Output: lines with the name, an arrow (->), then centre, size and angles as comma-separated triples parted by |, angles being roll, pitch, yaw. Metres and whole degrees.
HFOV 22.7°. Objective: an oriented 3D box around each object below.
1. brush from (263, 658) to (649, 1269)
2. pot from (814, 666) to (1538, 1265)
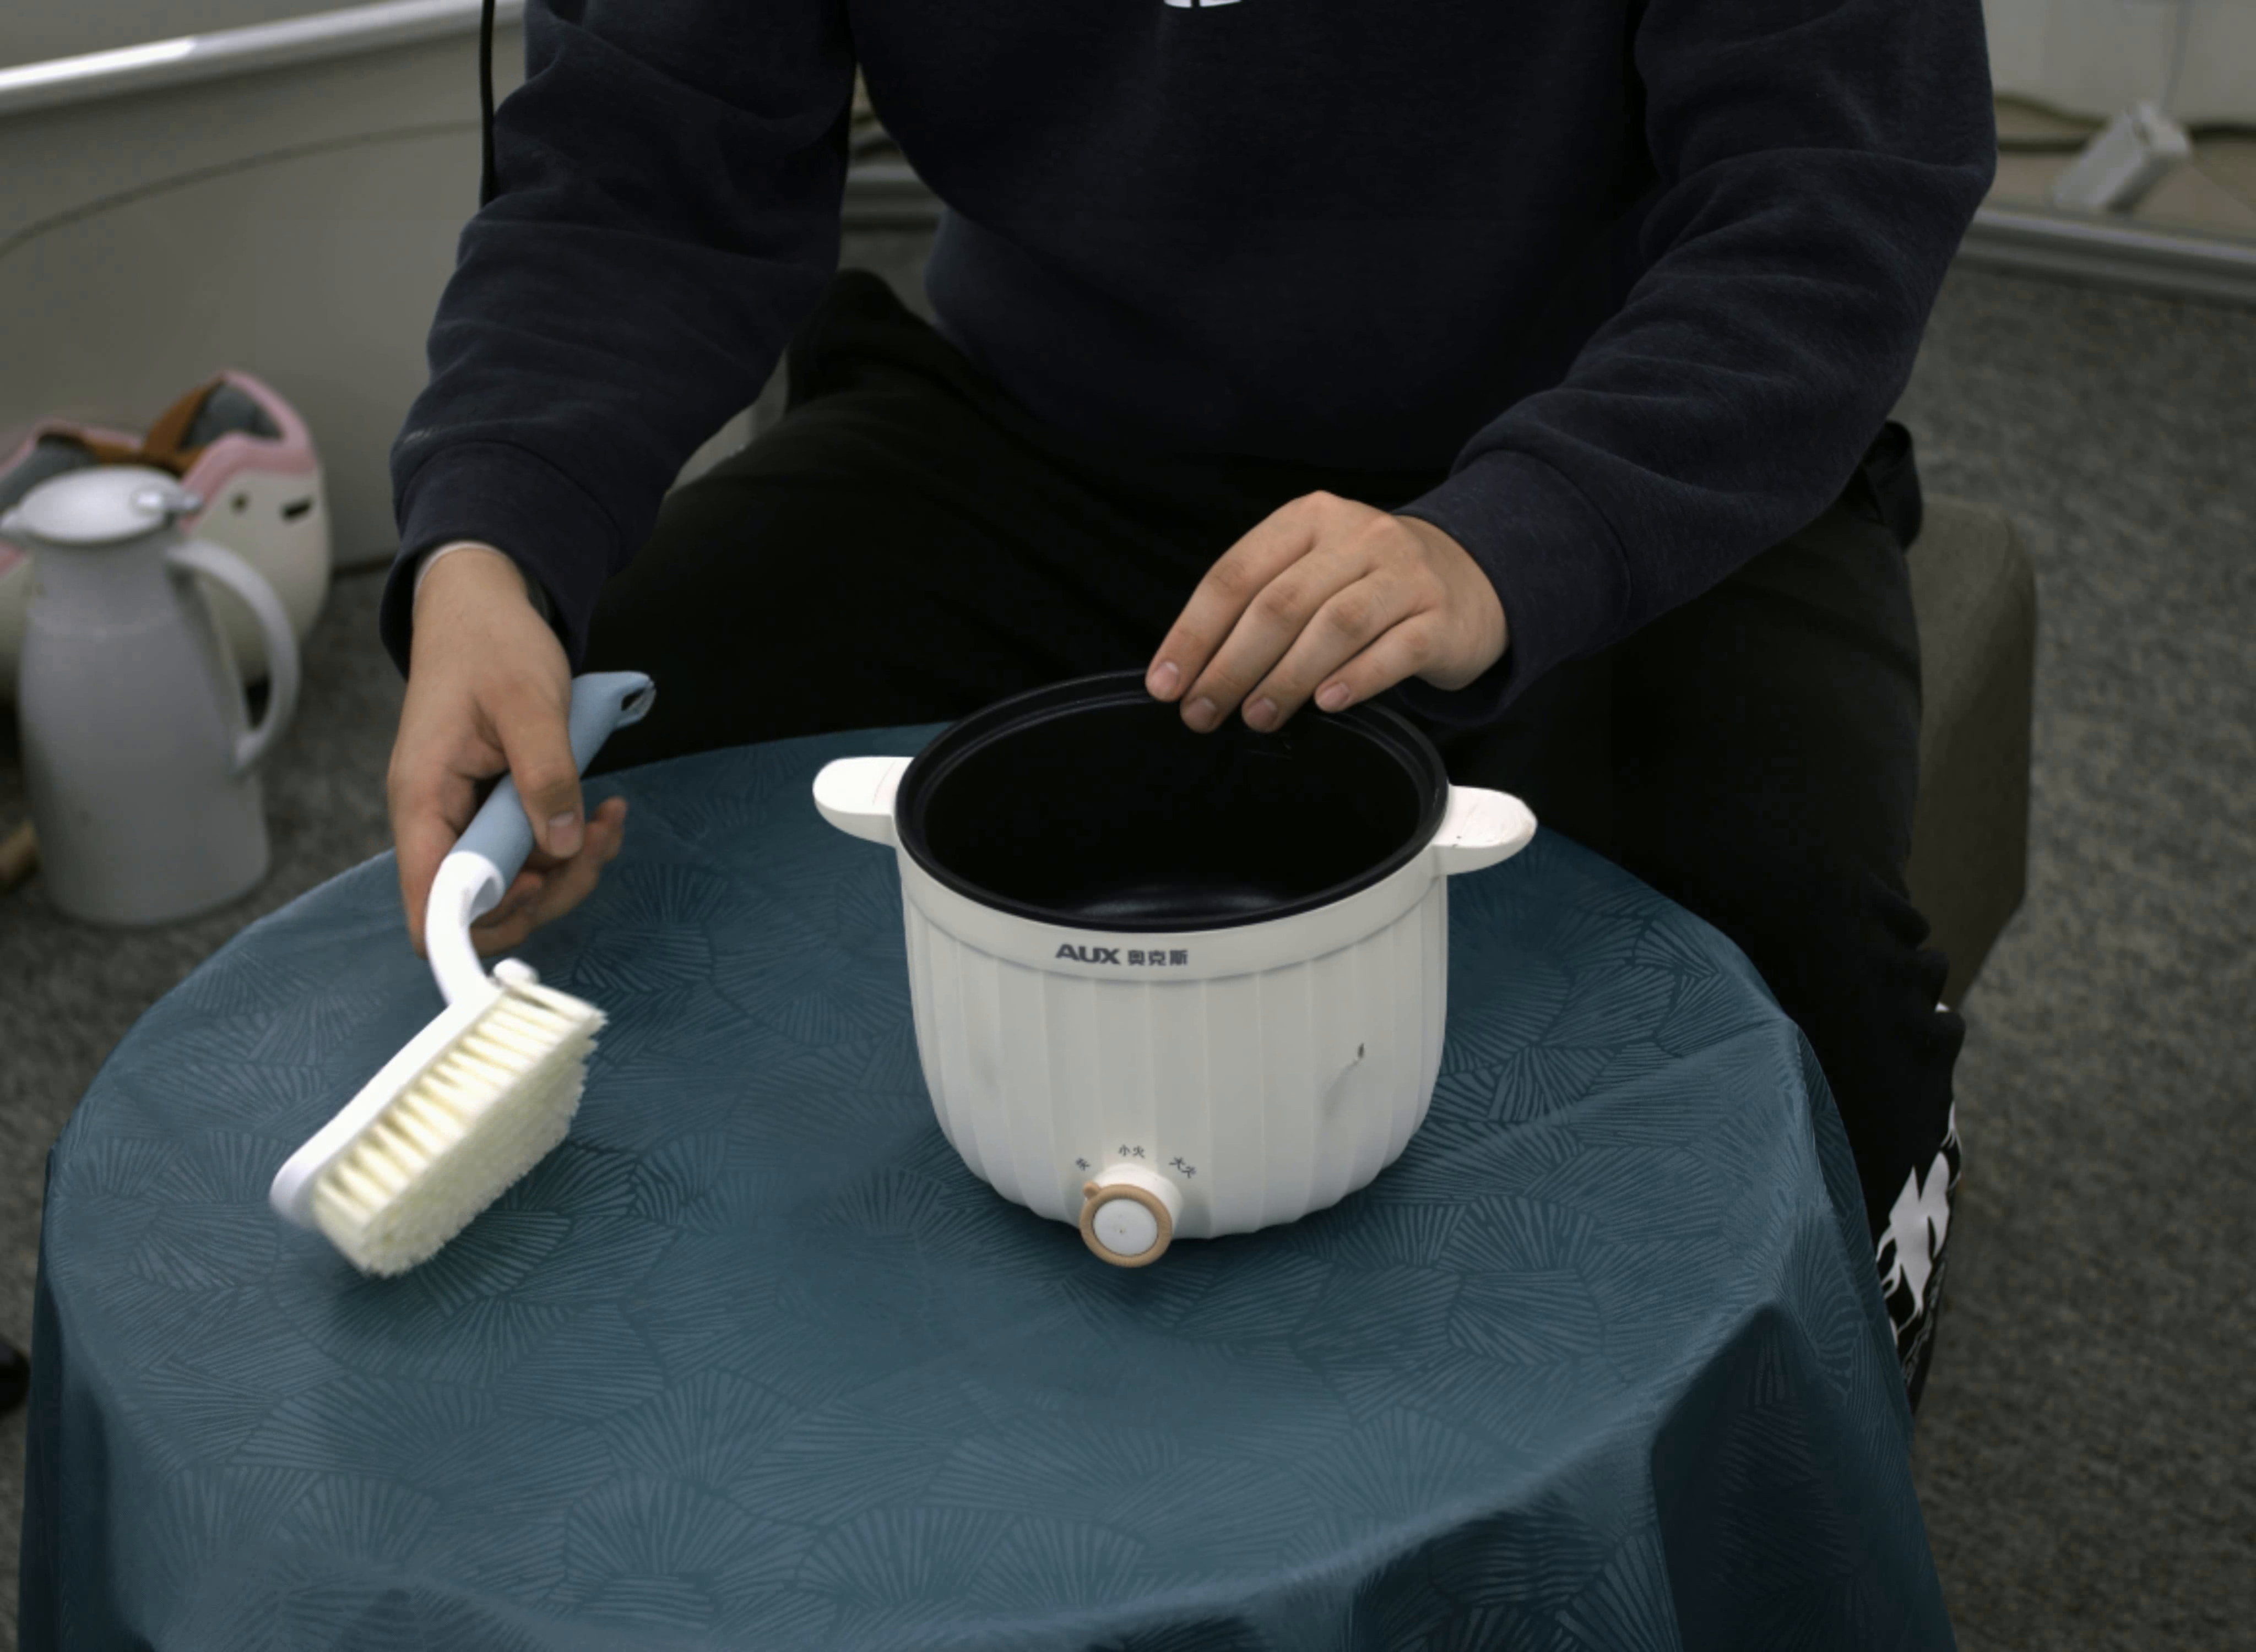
brush -> -0.198, 0.042, 1.934 | 0.082, 0.084, 0.332 | -30, 20, 33
pot -> 0.017, 0.049, 1.855 | 0.239, 0.141, 0.193 | 2, 24, 11
